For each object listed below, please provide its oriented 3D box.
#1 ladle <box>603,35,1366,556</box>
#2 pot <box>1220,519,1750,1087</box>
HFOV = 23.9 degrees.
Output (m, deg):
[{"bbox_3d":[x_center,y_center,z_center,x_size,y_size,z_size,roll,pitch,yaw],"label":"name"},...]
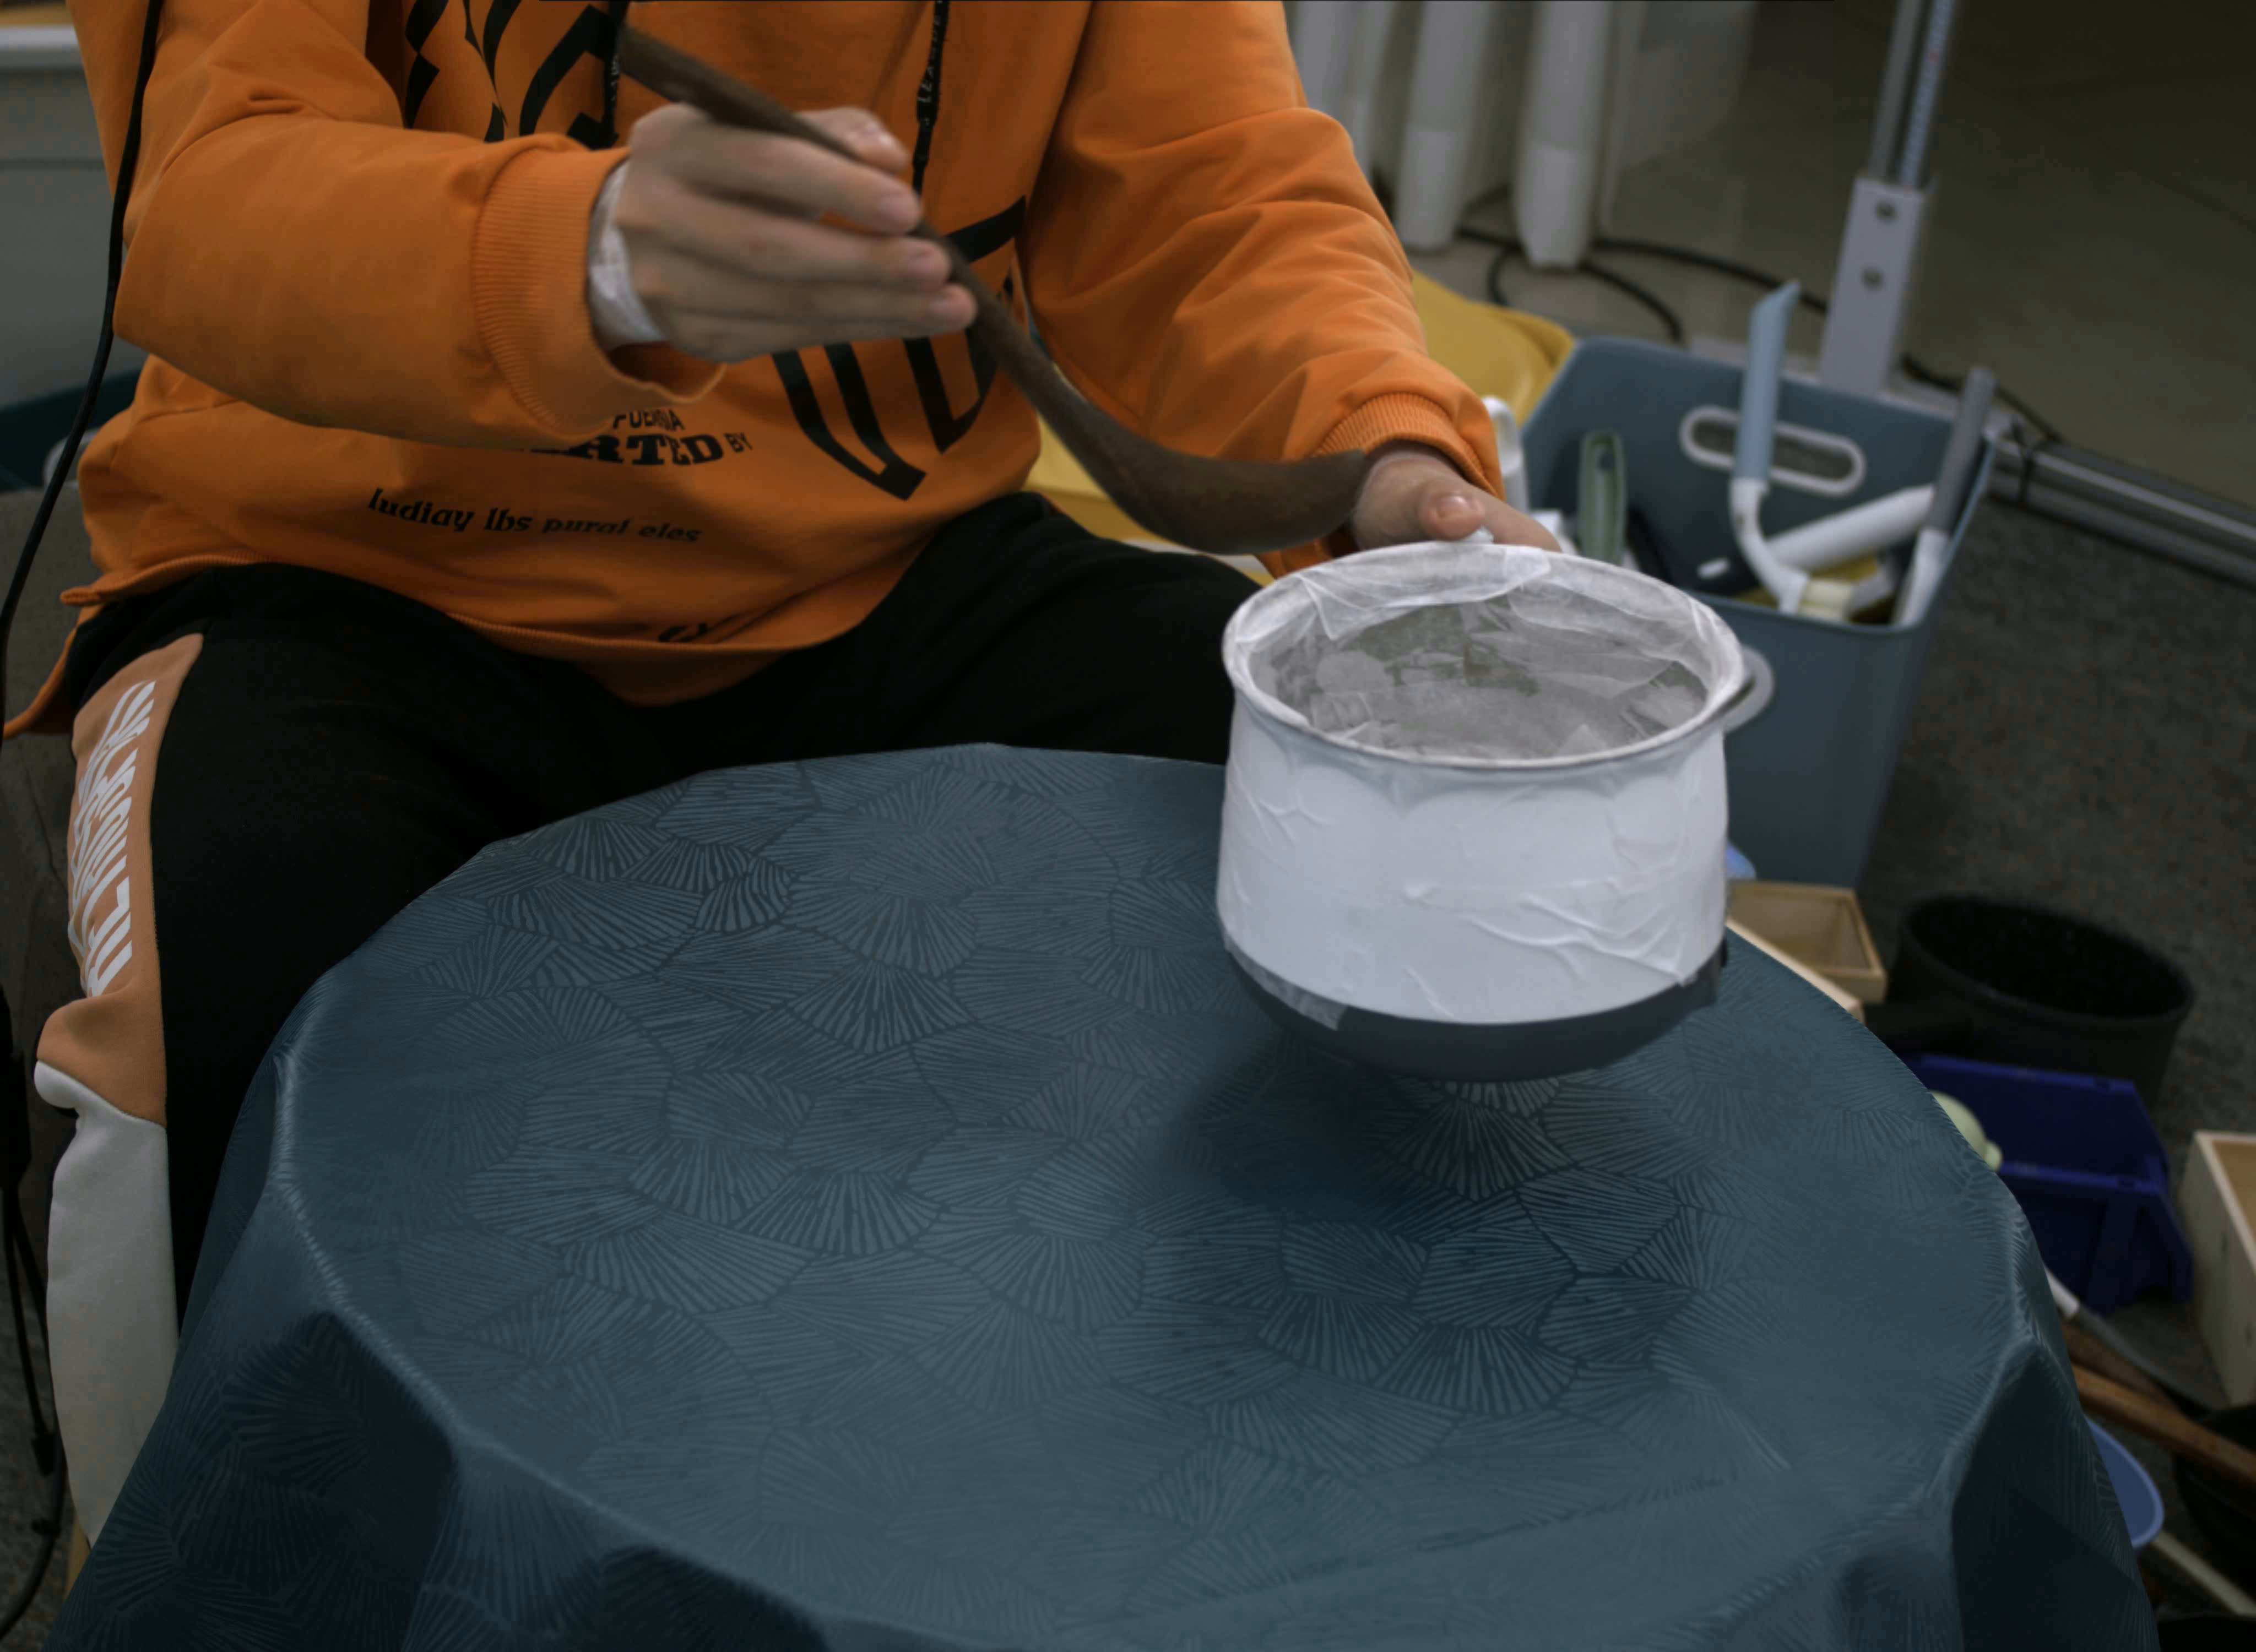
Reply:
[{"bbox_3d":[-0.042,-0.179,1.690,0.273,0.076,0.071,41,68,-11],"label":"ladle"},{"bbox_3d":[0.119,-0.015,1.848,0.178,0.136,0.235,0,27,-2],"label":"pot"}]
